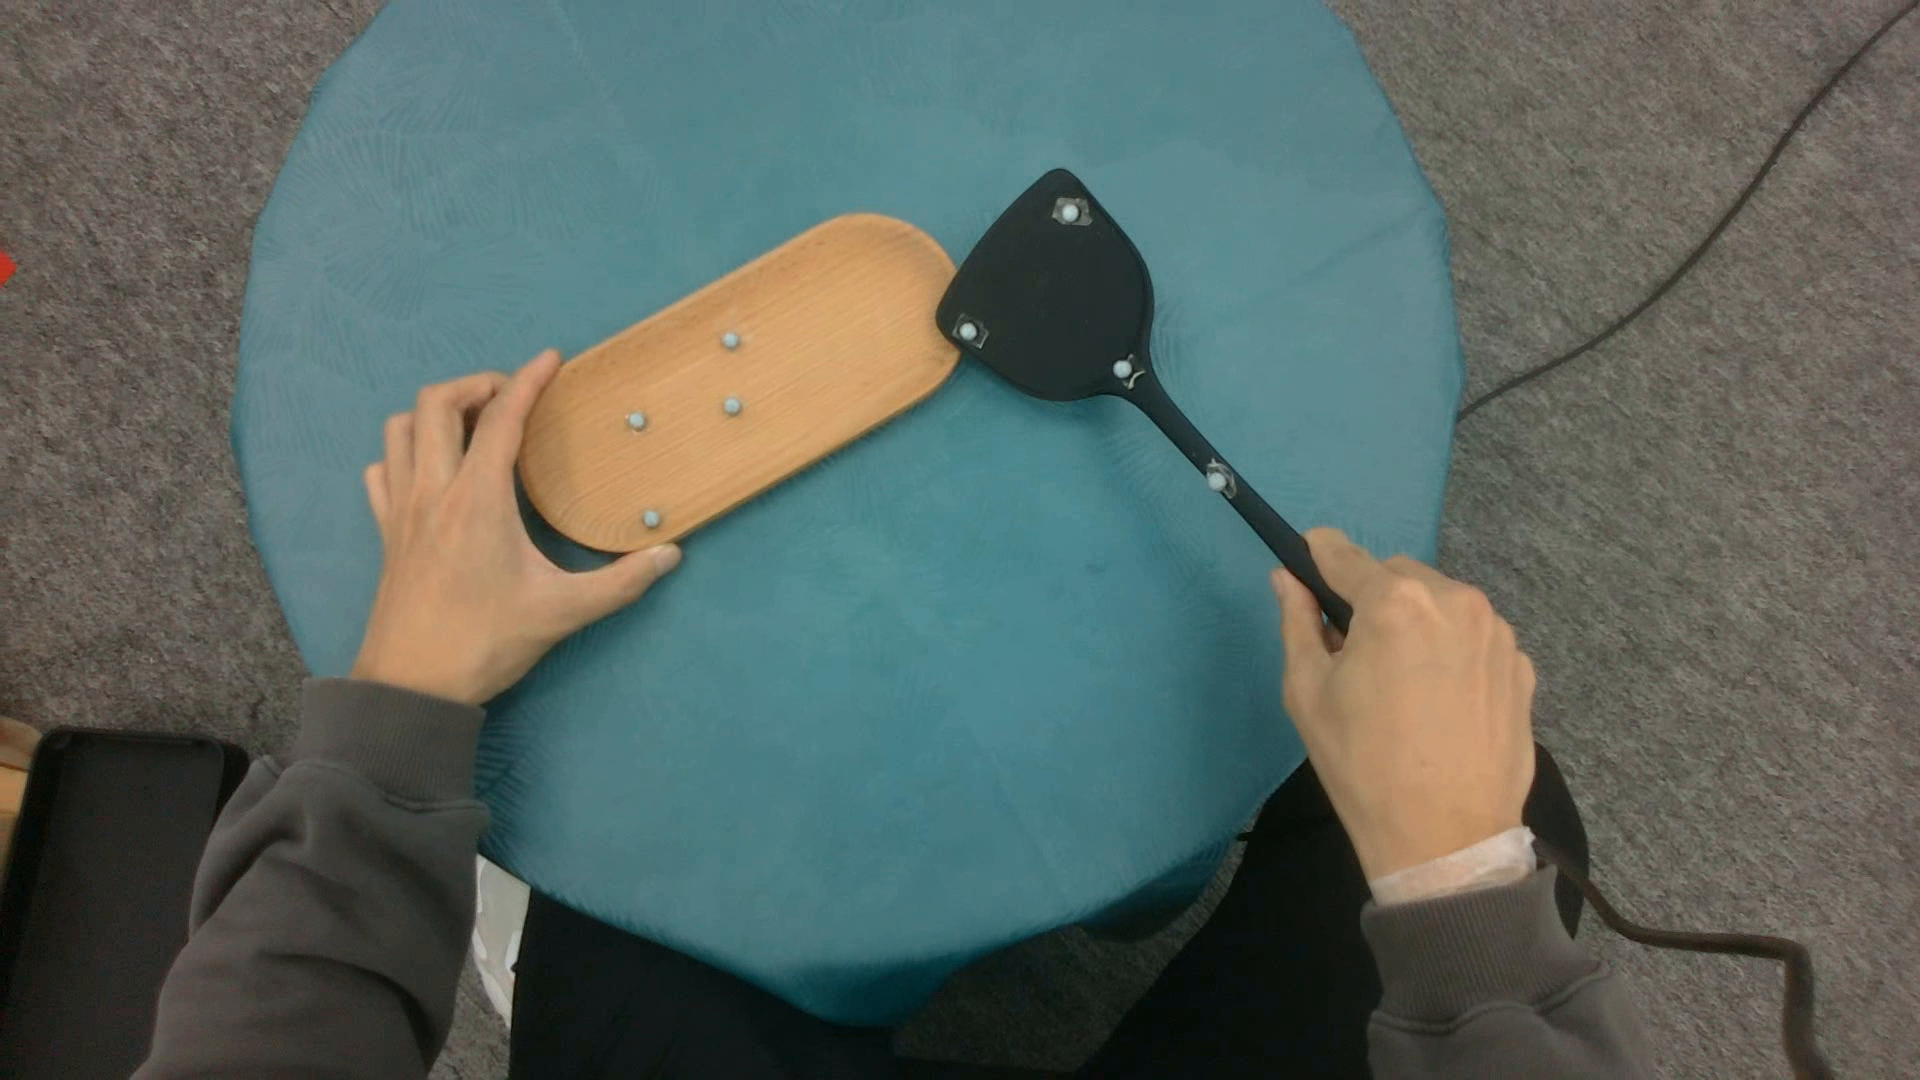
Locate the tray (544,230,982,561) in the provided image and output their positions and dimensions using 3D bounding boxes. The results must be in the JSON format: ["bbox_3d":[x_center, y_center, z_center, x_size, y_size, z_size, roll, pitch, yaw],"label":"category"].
[{"bbox_3d":[-0.096,-0.072,0.682,0.231,0.020,0.102,-30,81,-7],"label":"tray"}]

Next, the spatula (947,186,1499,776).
[{"bbox_3d":[0.117,-0.024,0.613,0.099,0.040,0.326,-47,62,19],"label":"spatula"}]
